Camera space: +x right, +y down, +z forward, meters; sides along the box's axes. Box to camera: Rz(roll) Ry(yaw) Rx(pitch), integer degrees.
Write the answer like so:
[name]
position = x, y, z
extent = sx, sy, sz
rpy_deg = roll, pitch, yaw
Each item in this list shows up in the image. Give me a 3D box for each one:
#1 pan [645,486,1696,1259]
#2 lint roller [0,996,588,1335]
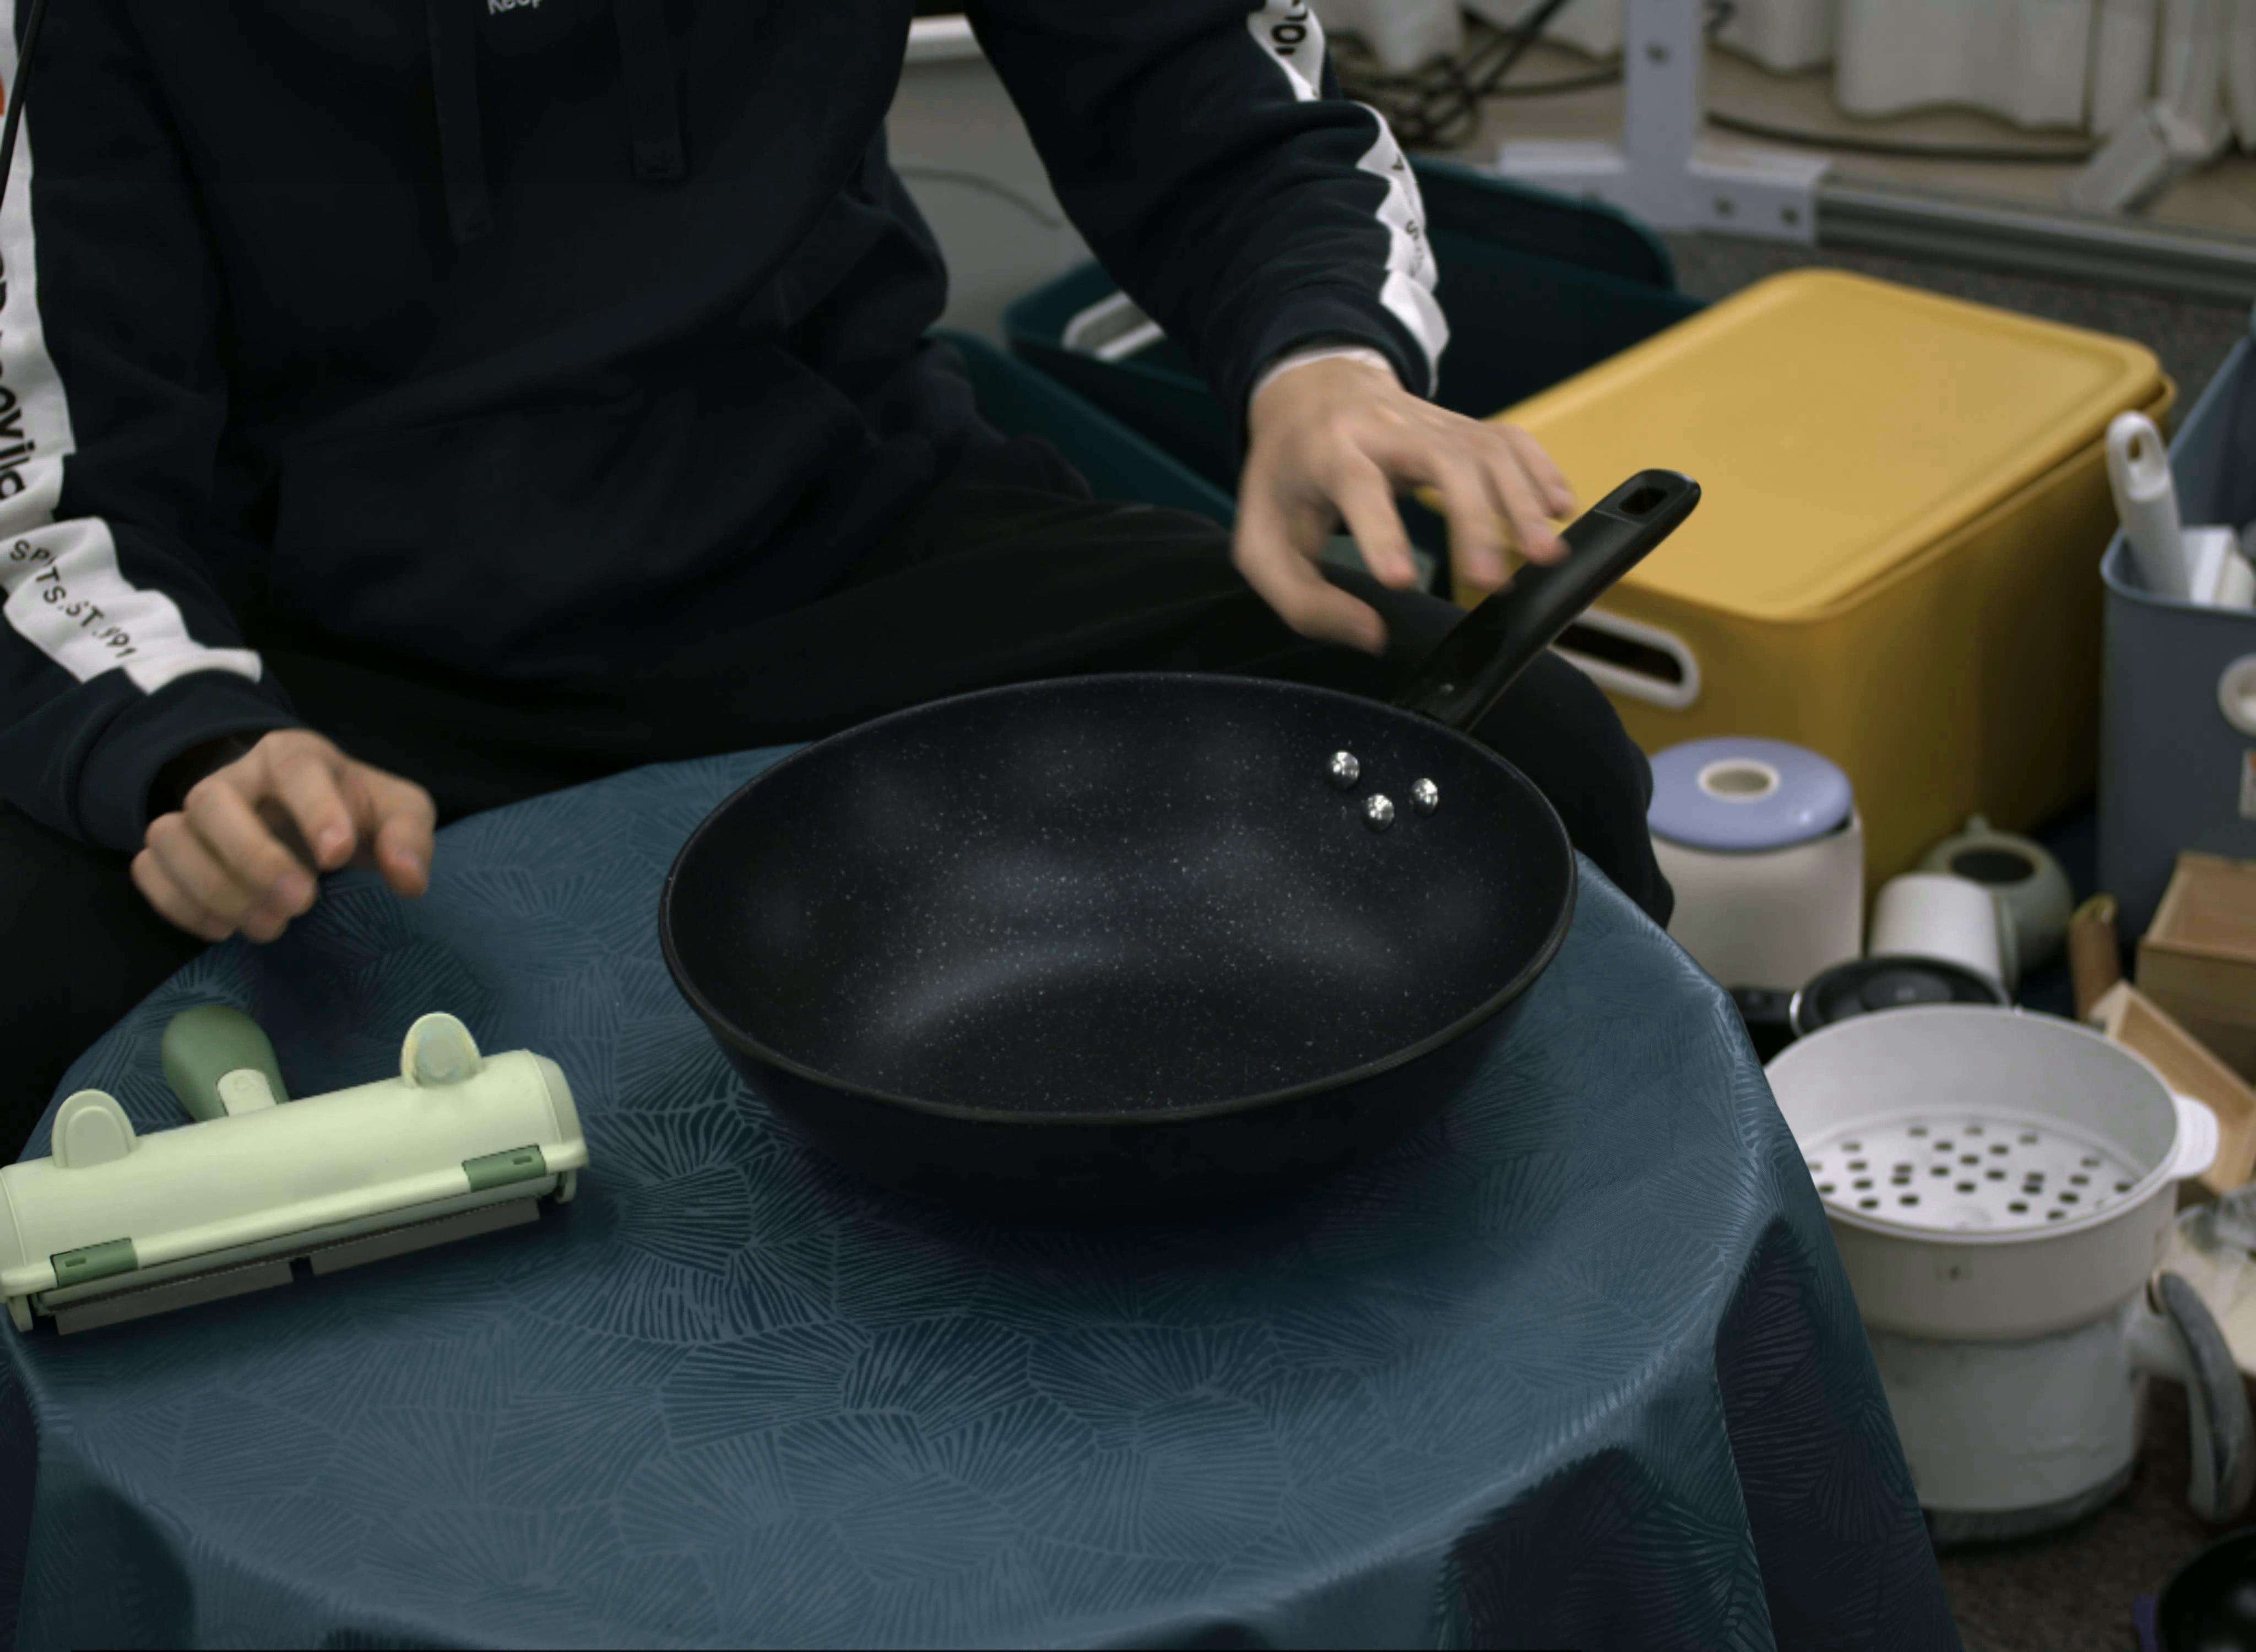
[pan]
position = 0.048, 0.017, 1.944
extent = 0.309, 0.110, 0.483
rpy_deg = 20, 36, 35
[lint roller]
position = -0.296, 0.086, 1.877
extent = 0.199, 0.081, 0.185
rpy_deg = -12, 34, -17
